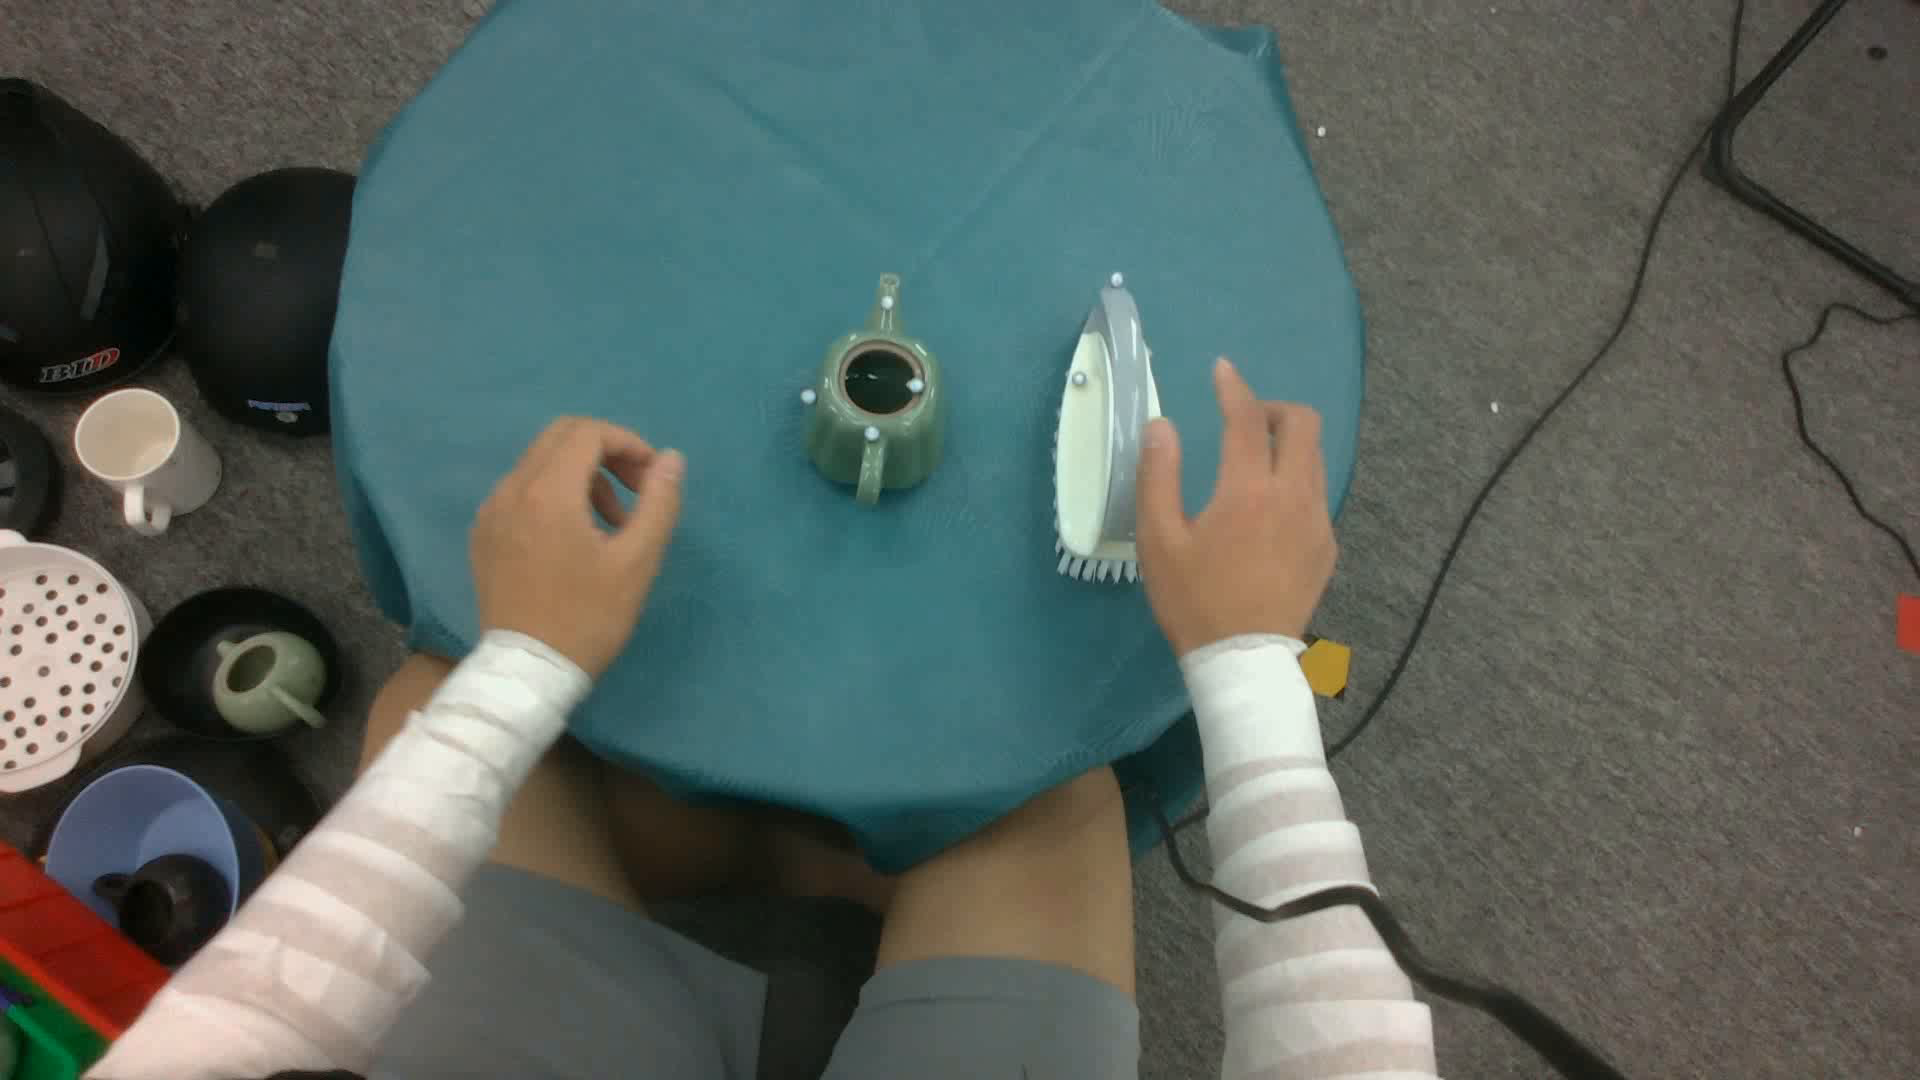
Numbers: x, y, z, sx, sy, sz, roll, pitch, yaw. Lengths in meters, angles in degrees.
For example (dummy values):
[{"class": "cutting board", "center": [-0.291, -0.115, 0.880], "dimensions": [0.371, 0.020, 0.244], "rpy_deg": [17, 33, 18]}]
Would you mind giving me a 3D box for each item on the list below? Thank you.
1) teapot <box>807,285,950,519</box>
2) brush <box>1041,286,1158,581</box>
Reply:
[{"class": "teapot", "center": [-0.044, -0.068, 0.764], "dimensions": [0.080, 0.075, 0.133], "rpy_deg": [5, 71, -4]}, {"class": "brush", "center": [0.083, -0.073, 0.769], "dimensions": [0.061, 0.094, 0.176], "rpy_deg": [5, 68, -9]}]
